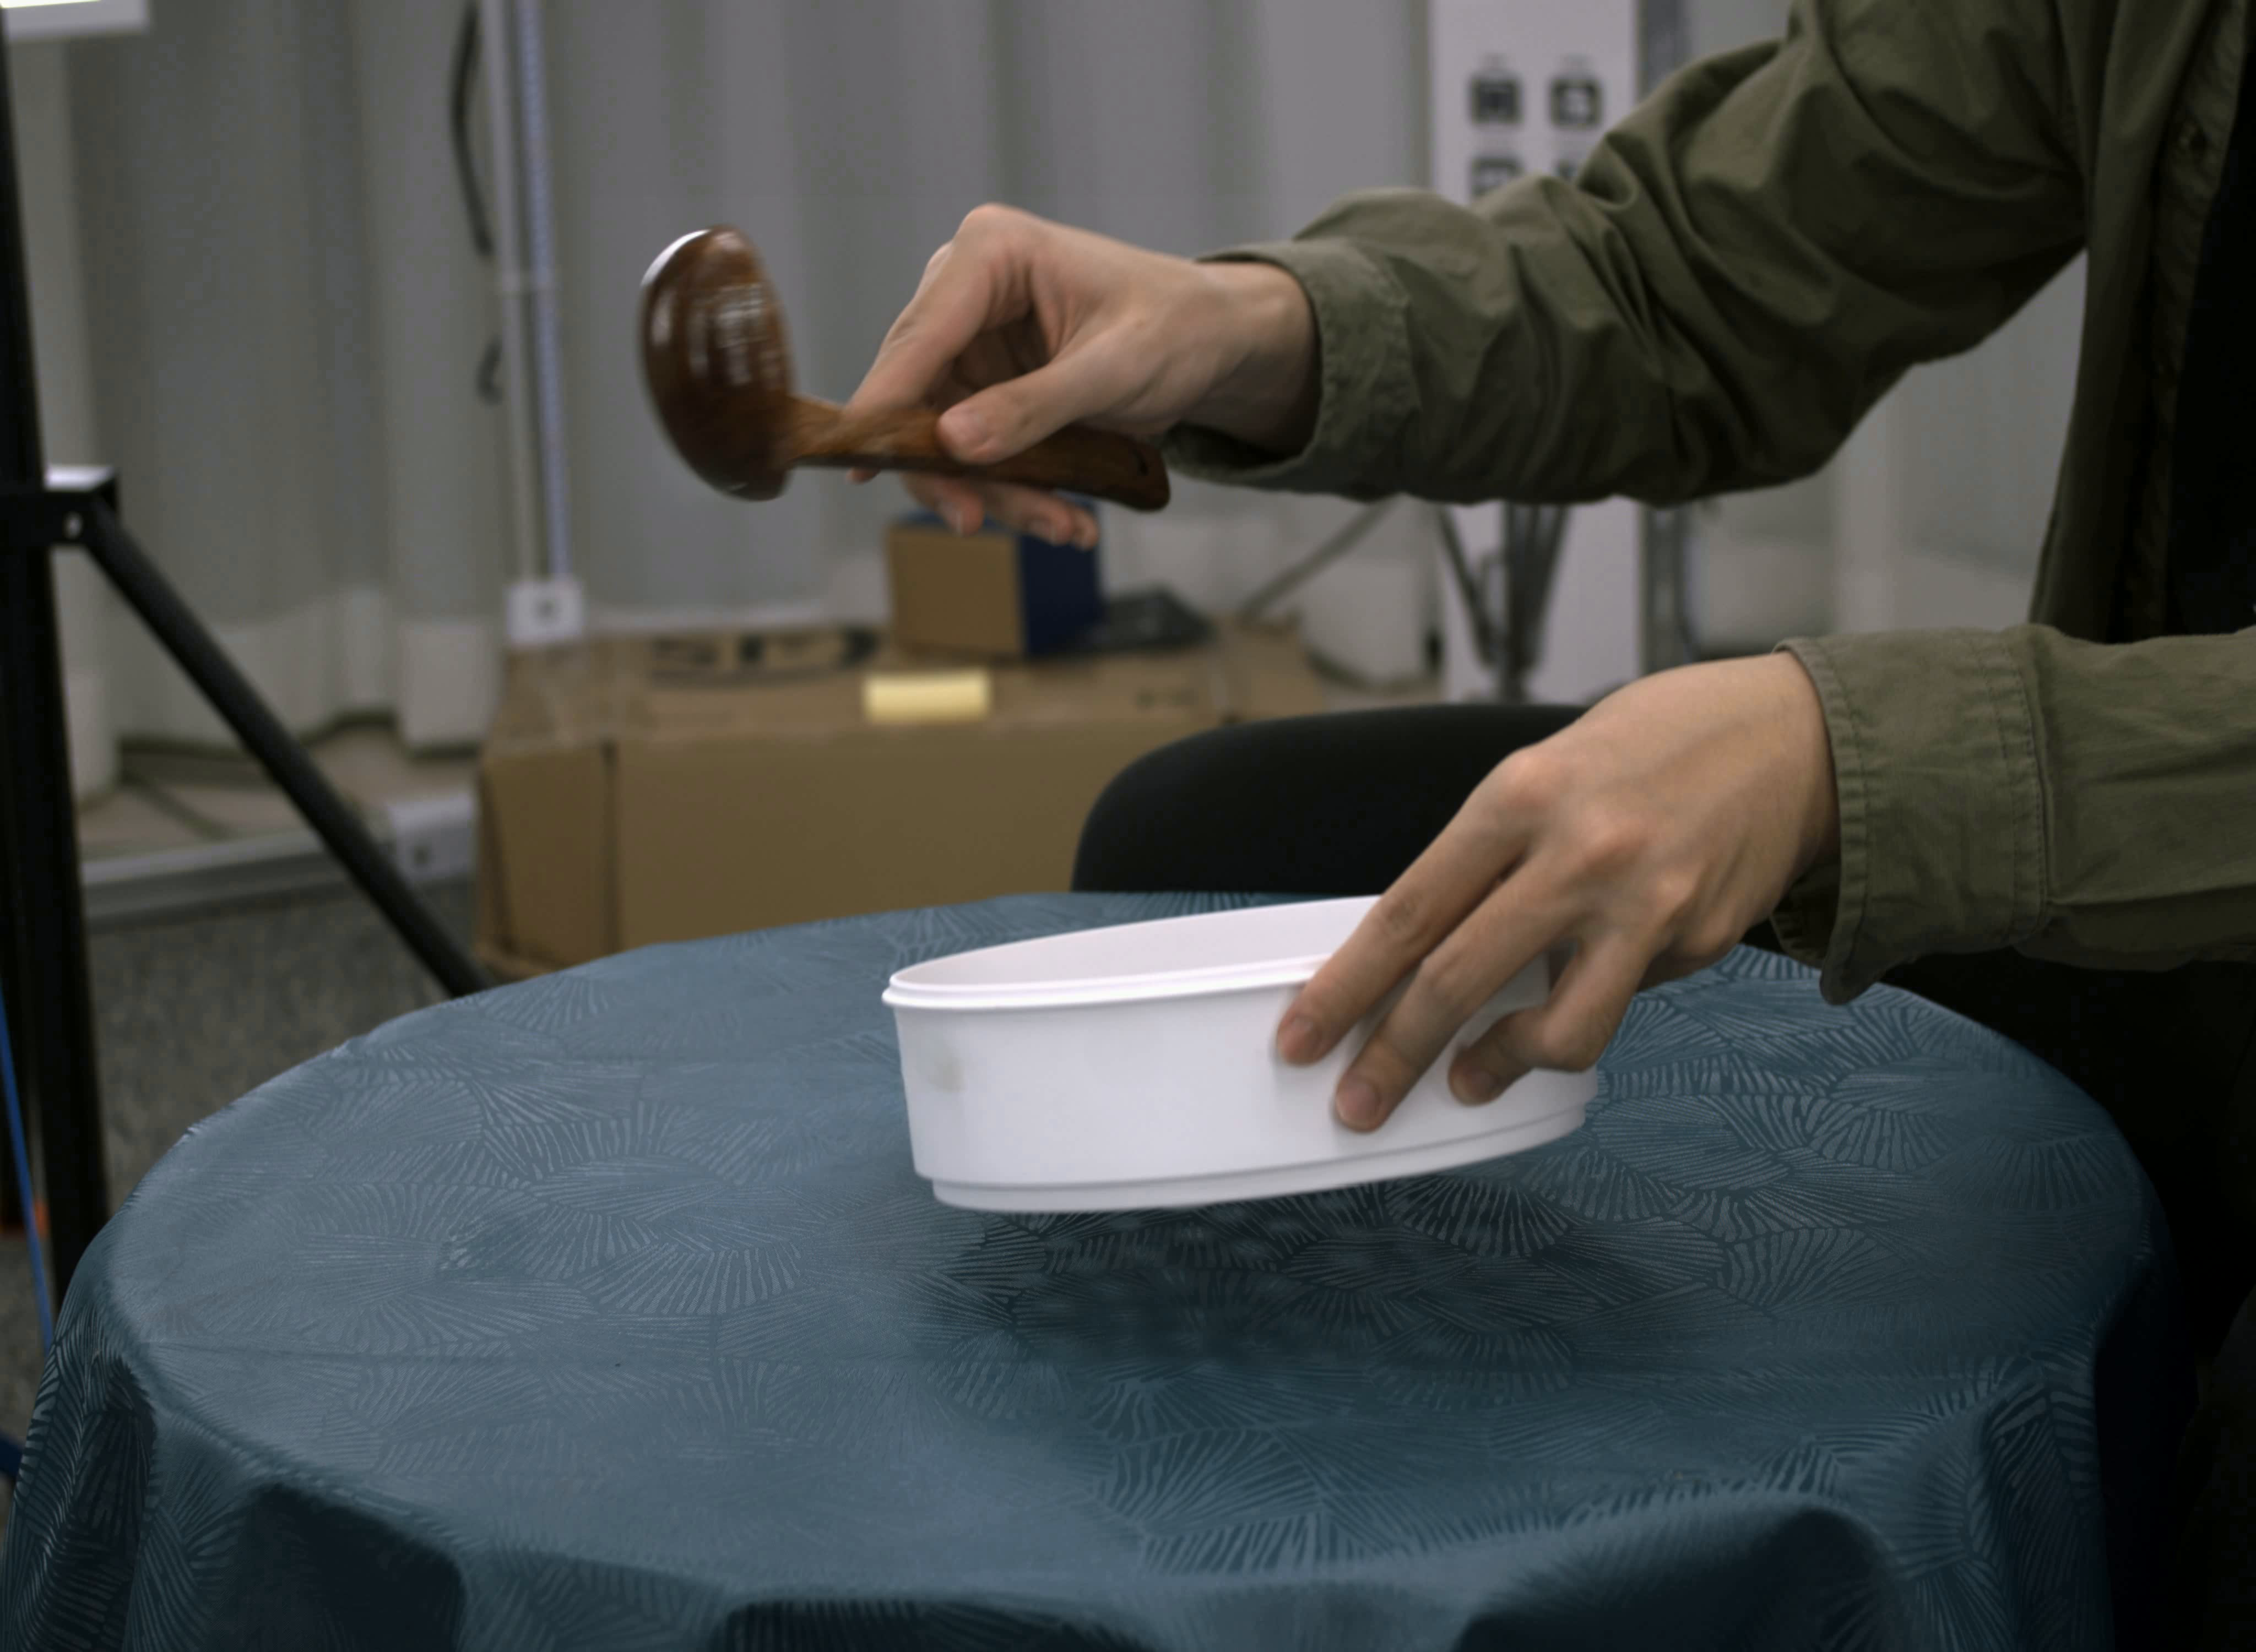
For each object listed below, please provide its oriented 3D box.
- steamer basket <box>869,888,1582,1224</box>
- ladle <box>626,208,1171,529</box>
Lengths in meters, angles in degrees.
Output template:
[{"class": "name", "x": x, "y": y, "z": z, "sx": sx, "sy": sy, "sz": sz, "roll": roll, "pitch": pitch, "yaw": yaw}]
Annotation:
[{"class": "steamer basket", "x": 0.030, "y": 0.066, "z": 1.497, "sx": 0.197, "sy": 0.069, "sz": 0.235, "roll": -10, "pitch": 5, "yaw": -39}, {"class": "ladle", "x": -0.054, "y": -0.131, "z": 1.619, "sx": 0.078, "sy": 0.083, "sz": 0.267, "roll": -27, "pitch": -20, "yaw": 36}]
